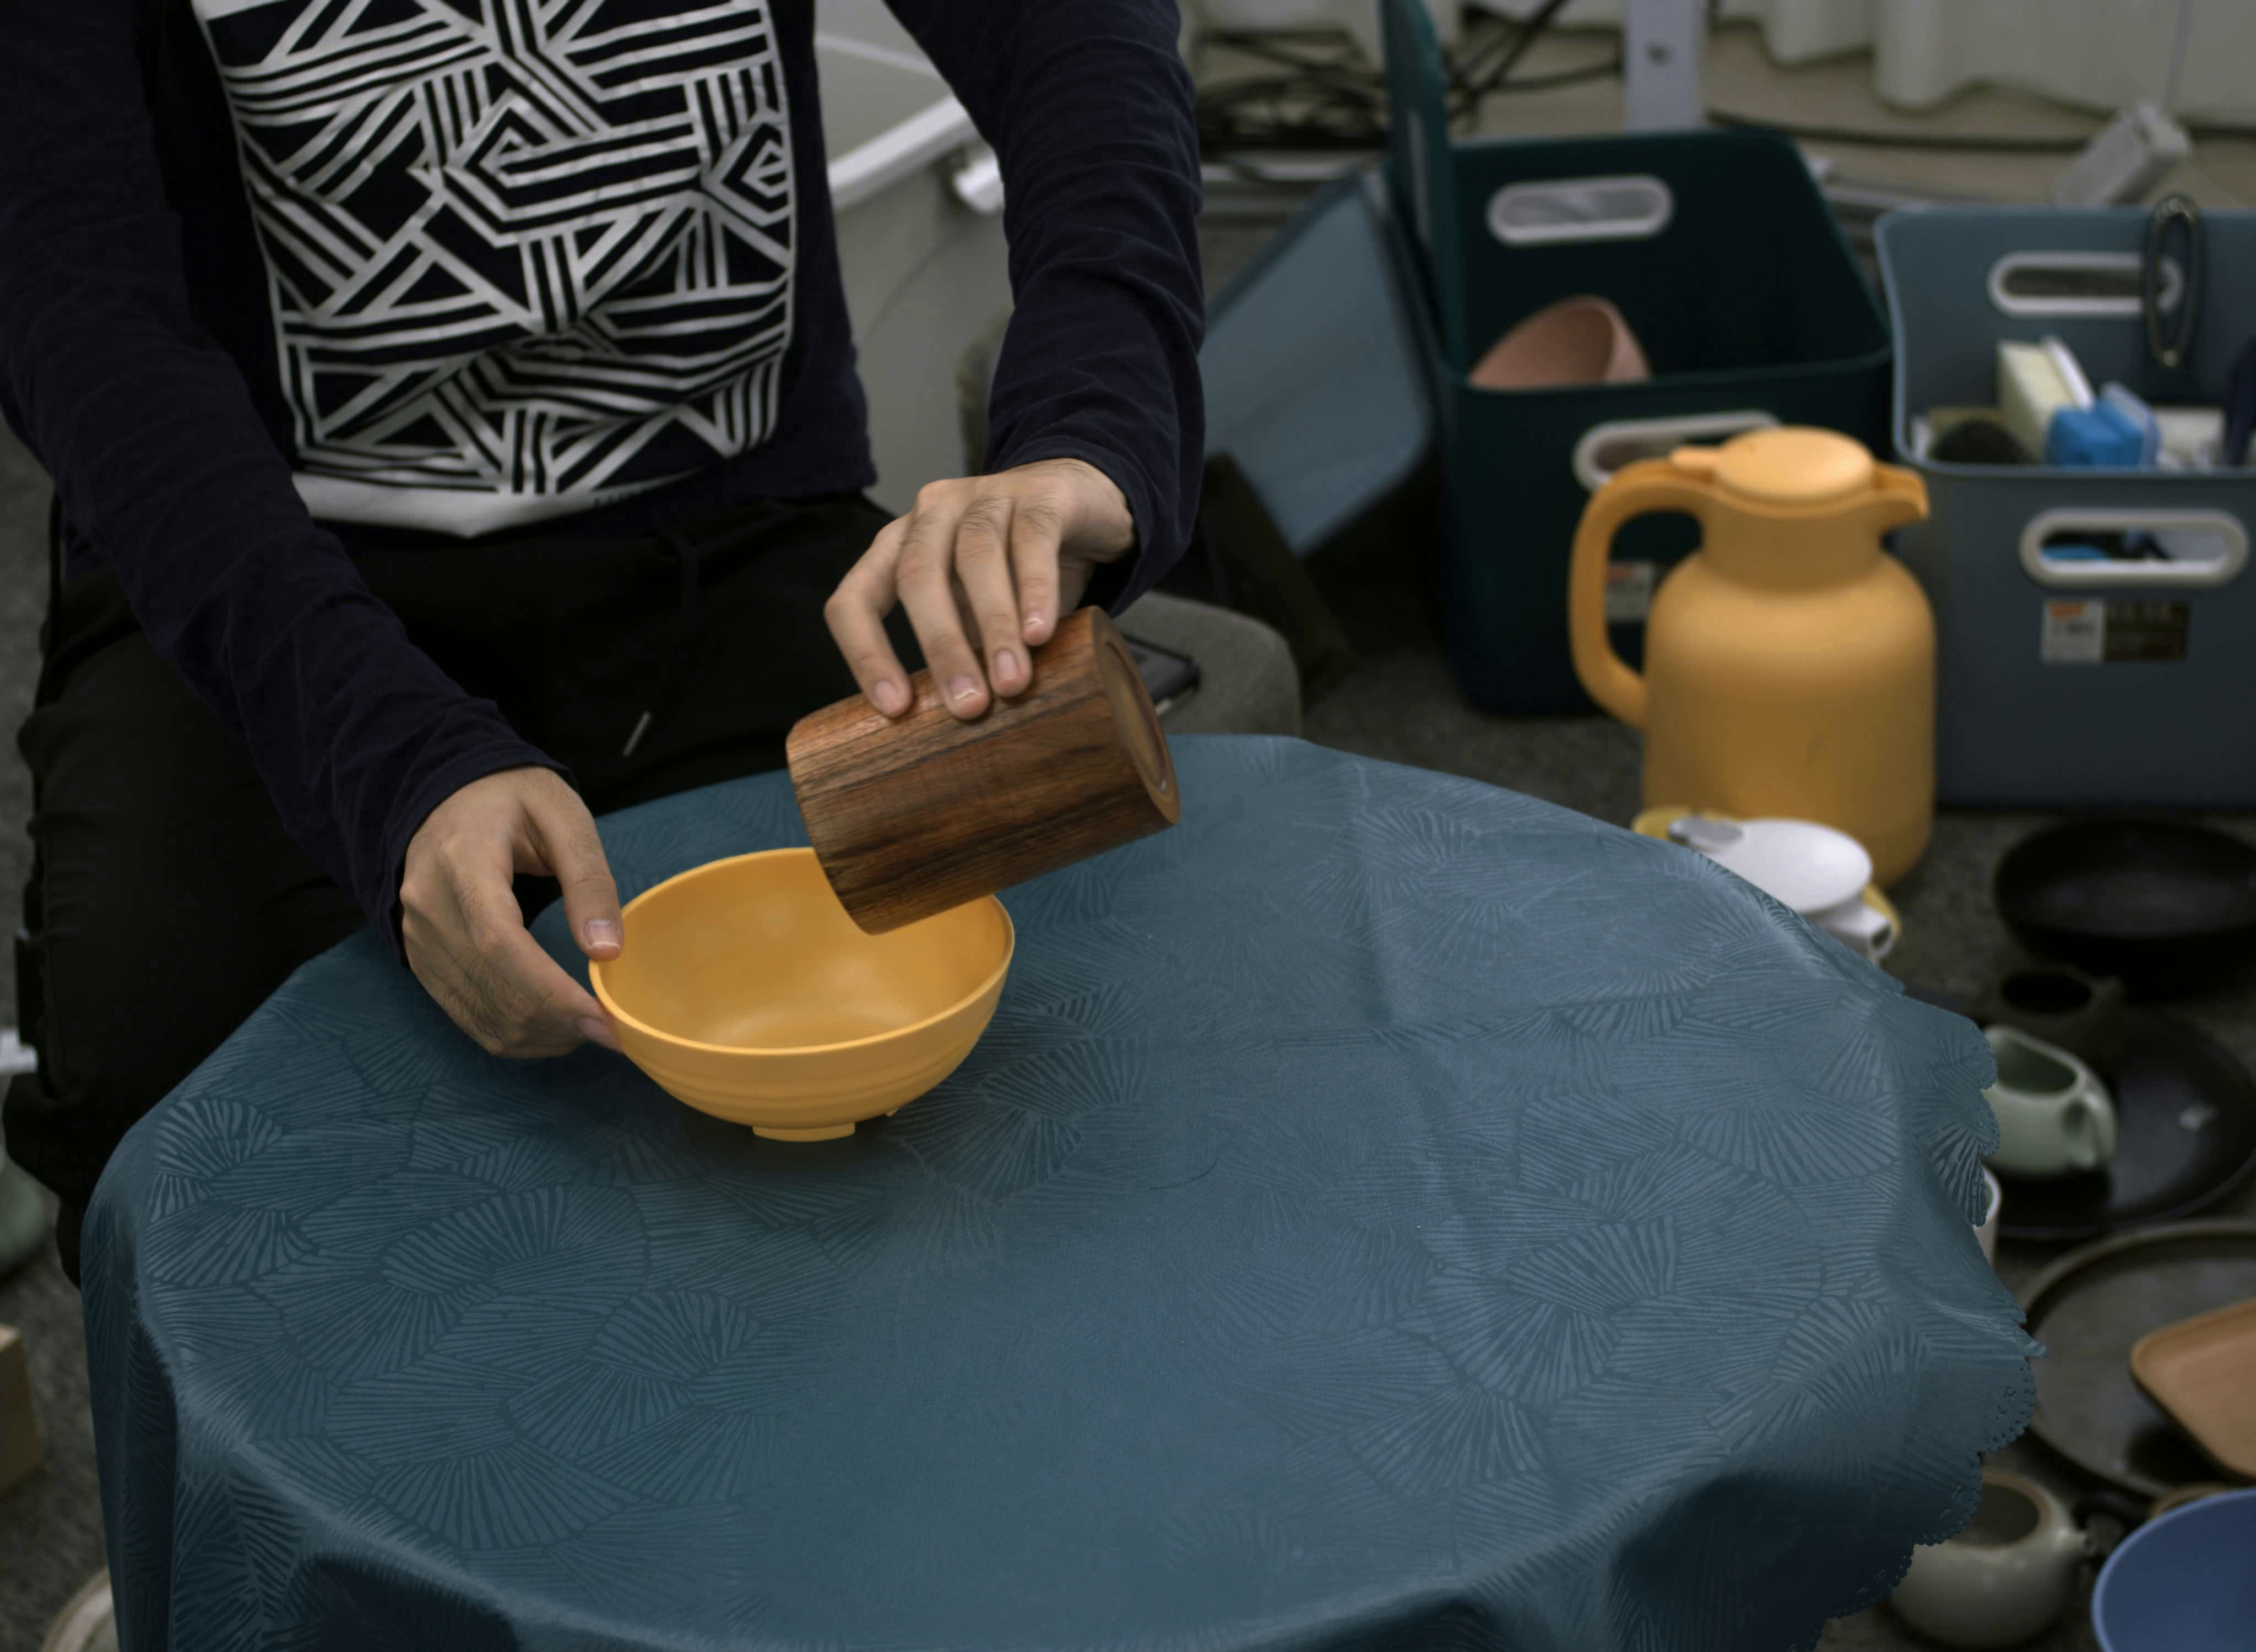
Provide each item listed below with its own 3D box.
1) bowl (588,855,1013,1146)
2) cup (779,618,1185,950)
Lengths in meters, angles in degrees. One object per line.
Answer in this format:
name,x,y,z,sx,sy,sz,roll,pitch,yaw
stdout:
bowl,-0.110,0.068,1.912,0.144,0.059,0.147,-1,26,1
cup,-0.048,-0.014,1.883,0.117,0.087,0.089,-17,25,9
